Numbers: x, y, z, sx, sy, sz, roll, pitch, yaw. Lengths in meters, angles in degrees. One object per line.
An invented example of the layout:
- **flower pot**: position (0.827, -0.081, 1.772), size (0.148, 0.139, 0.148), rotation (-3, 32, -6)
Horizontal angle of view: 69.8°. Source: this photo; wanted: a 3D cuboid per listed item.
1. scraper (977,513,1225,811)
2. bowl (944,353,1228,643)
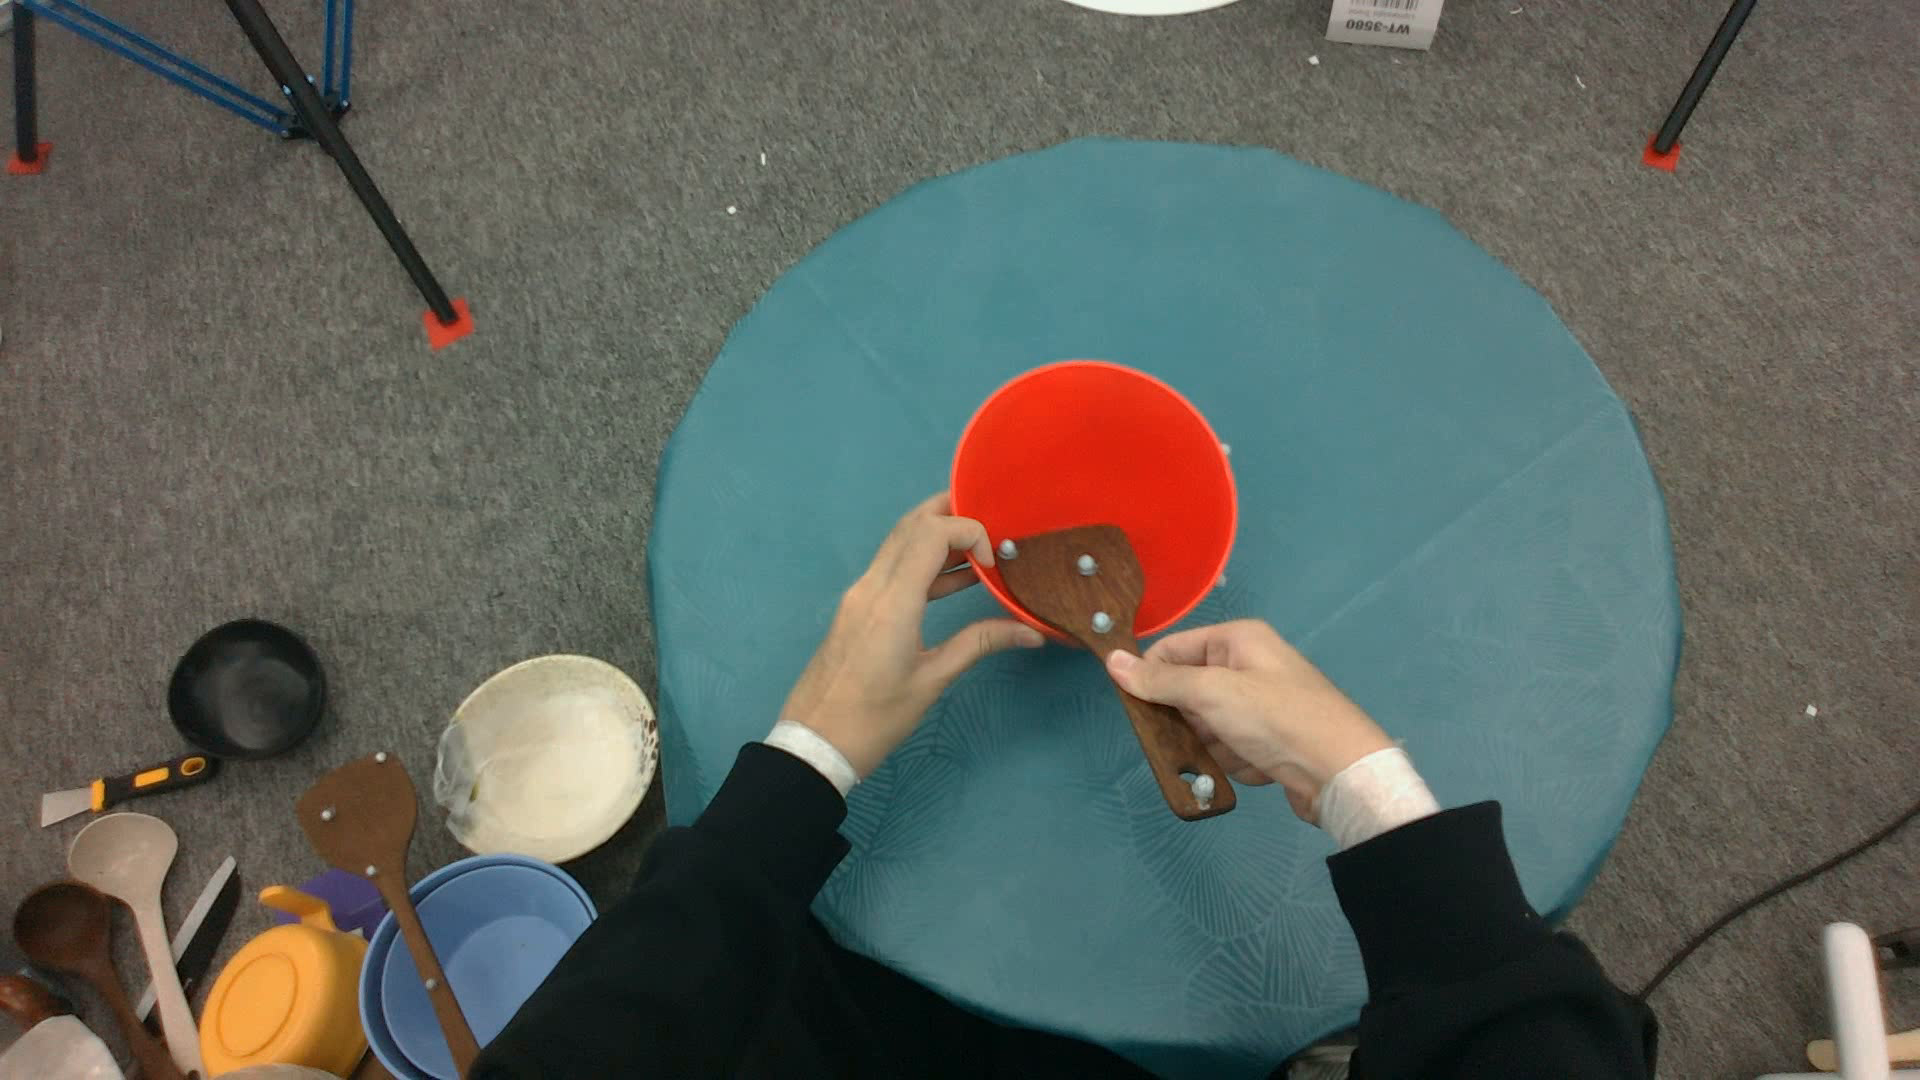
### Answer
- **scraper**: position (0.070, 0.050, 0.644), size (0.076, 0.011, 0.212), rotation (-10, 36, -12)
- **bowl**: position (0.062, -0.009, 0.734), size (0.148, 0.104, 0.148), rotation (2, 65, -5)
